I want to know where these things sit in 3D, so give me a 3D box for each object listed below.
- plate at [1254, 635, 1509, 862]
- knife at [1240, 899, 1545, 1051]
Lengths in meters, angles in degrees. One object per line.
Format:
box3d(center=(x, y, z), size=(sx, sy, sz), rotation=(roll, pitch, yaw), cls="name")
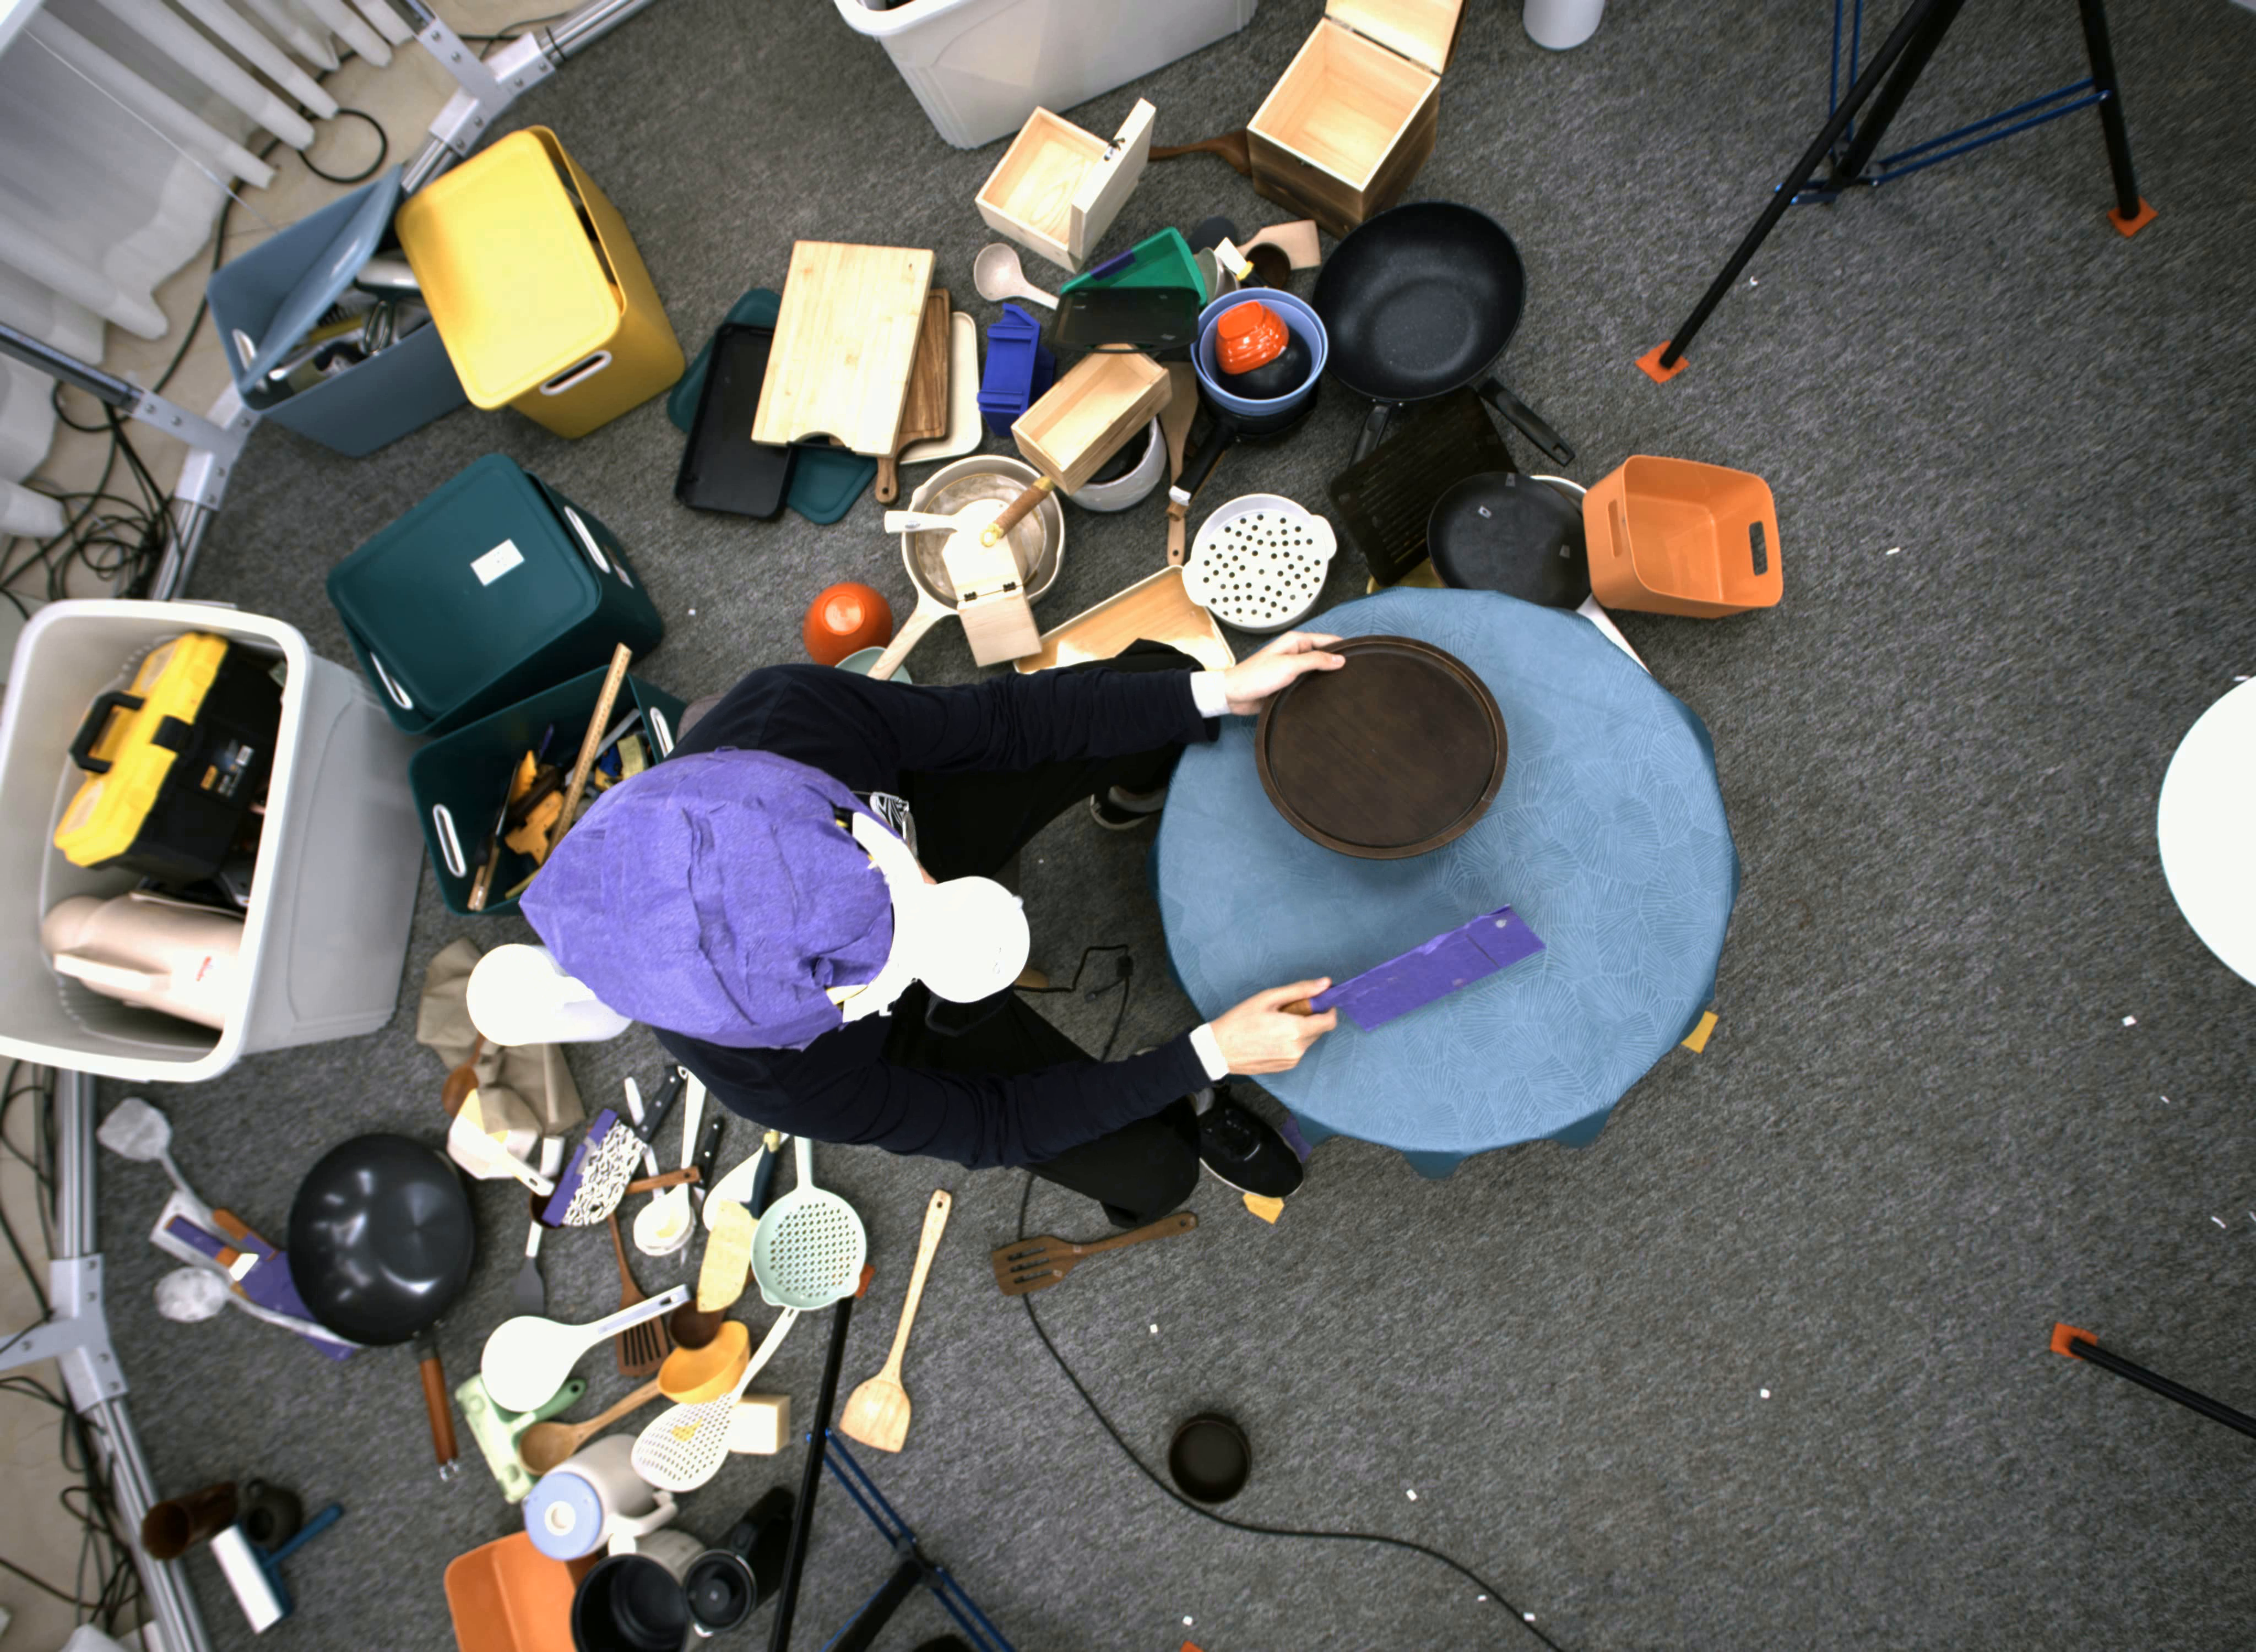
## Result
box3d(center=(0.254, -0.081, 1.388), size=(0.255, 0.029, 0.250), rotation=(-3, 70, 6), cls="plate")
box3d(center=(0.268, 0.168, 1.401), size=(0.320, 0.105, 0.031), rotation=(-28, 40, 24), cls="knife")
